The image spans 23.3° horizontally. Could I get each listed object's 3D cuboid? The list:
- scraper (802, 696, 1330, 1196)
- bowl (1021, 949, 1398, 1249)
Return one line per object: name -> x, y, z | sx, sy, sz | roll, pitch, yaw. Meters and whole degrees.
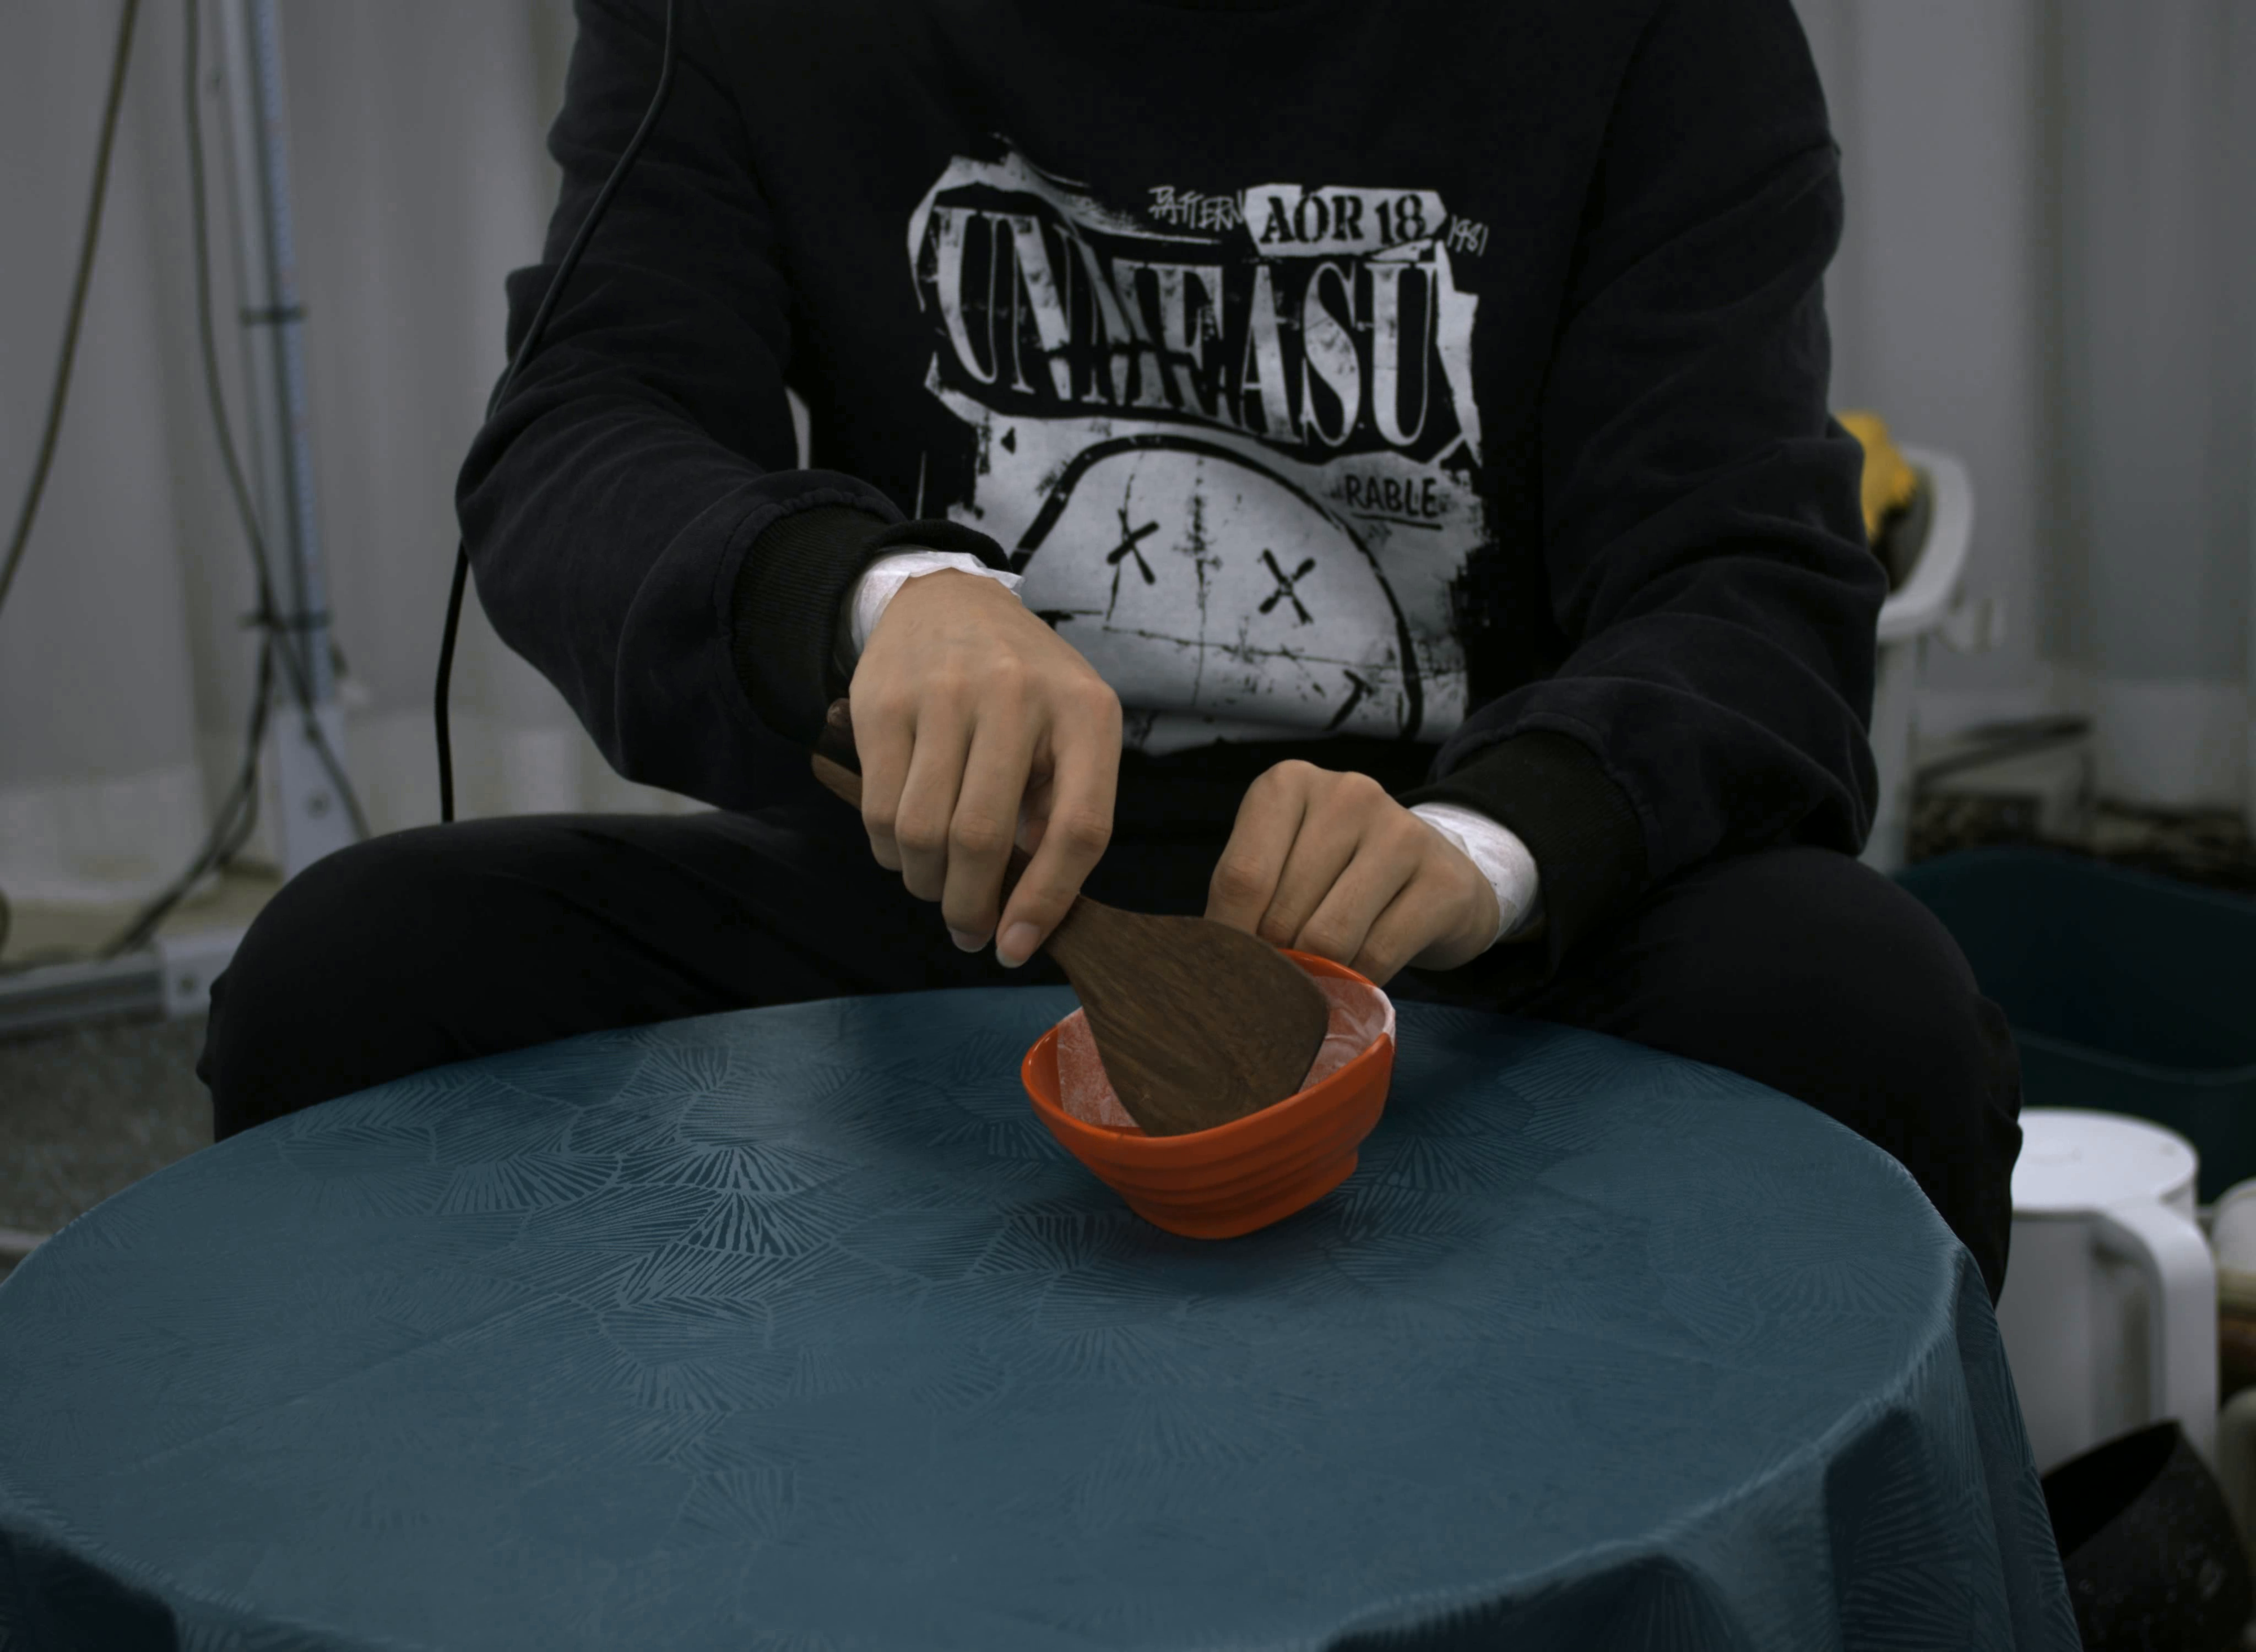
scraper -> -0.025, 0.027, 1.687 | 0.213, 0.075, 0.011 | 39, 14, 27
bowl -> 0.030, 0.088, 1.686 | 0.118, 0.051, 0.120 | -12, 25, 6
